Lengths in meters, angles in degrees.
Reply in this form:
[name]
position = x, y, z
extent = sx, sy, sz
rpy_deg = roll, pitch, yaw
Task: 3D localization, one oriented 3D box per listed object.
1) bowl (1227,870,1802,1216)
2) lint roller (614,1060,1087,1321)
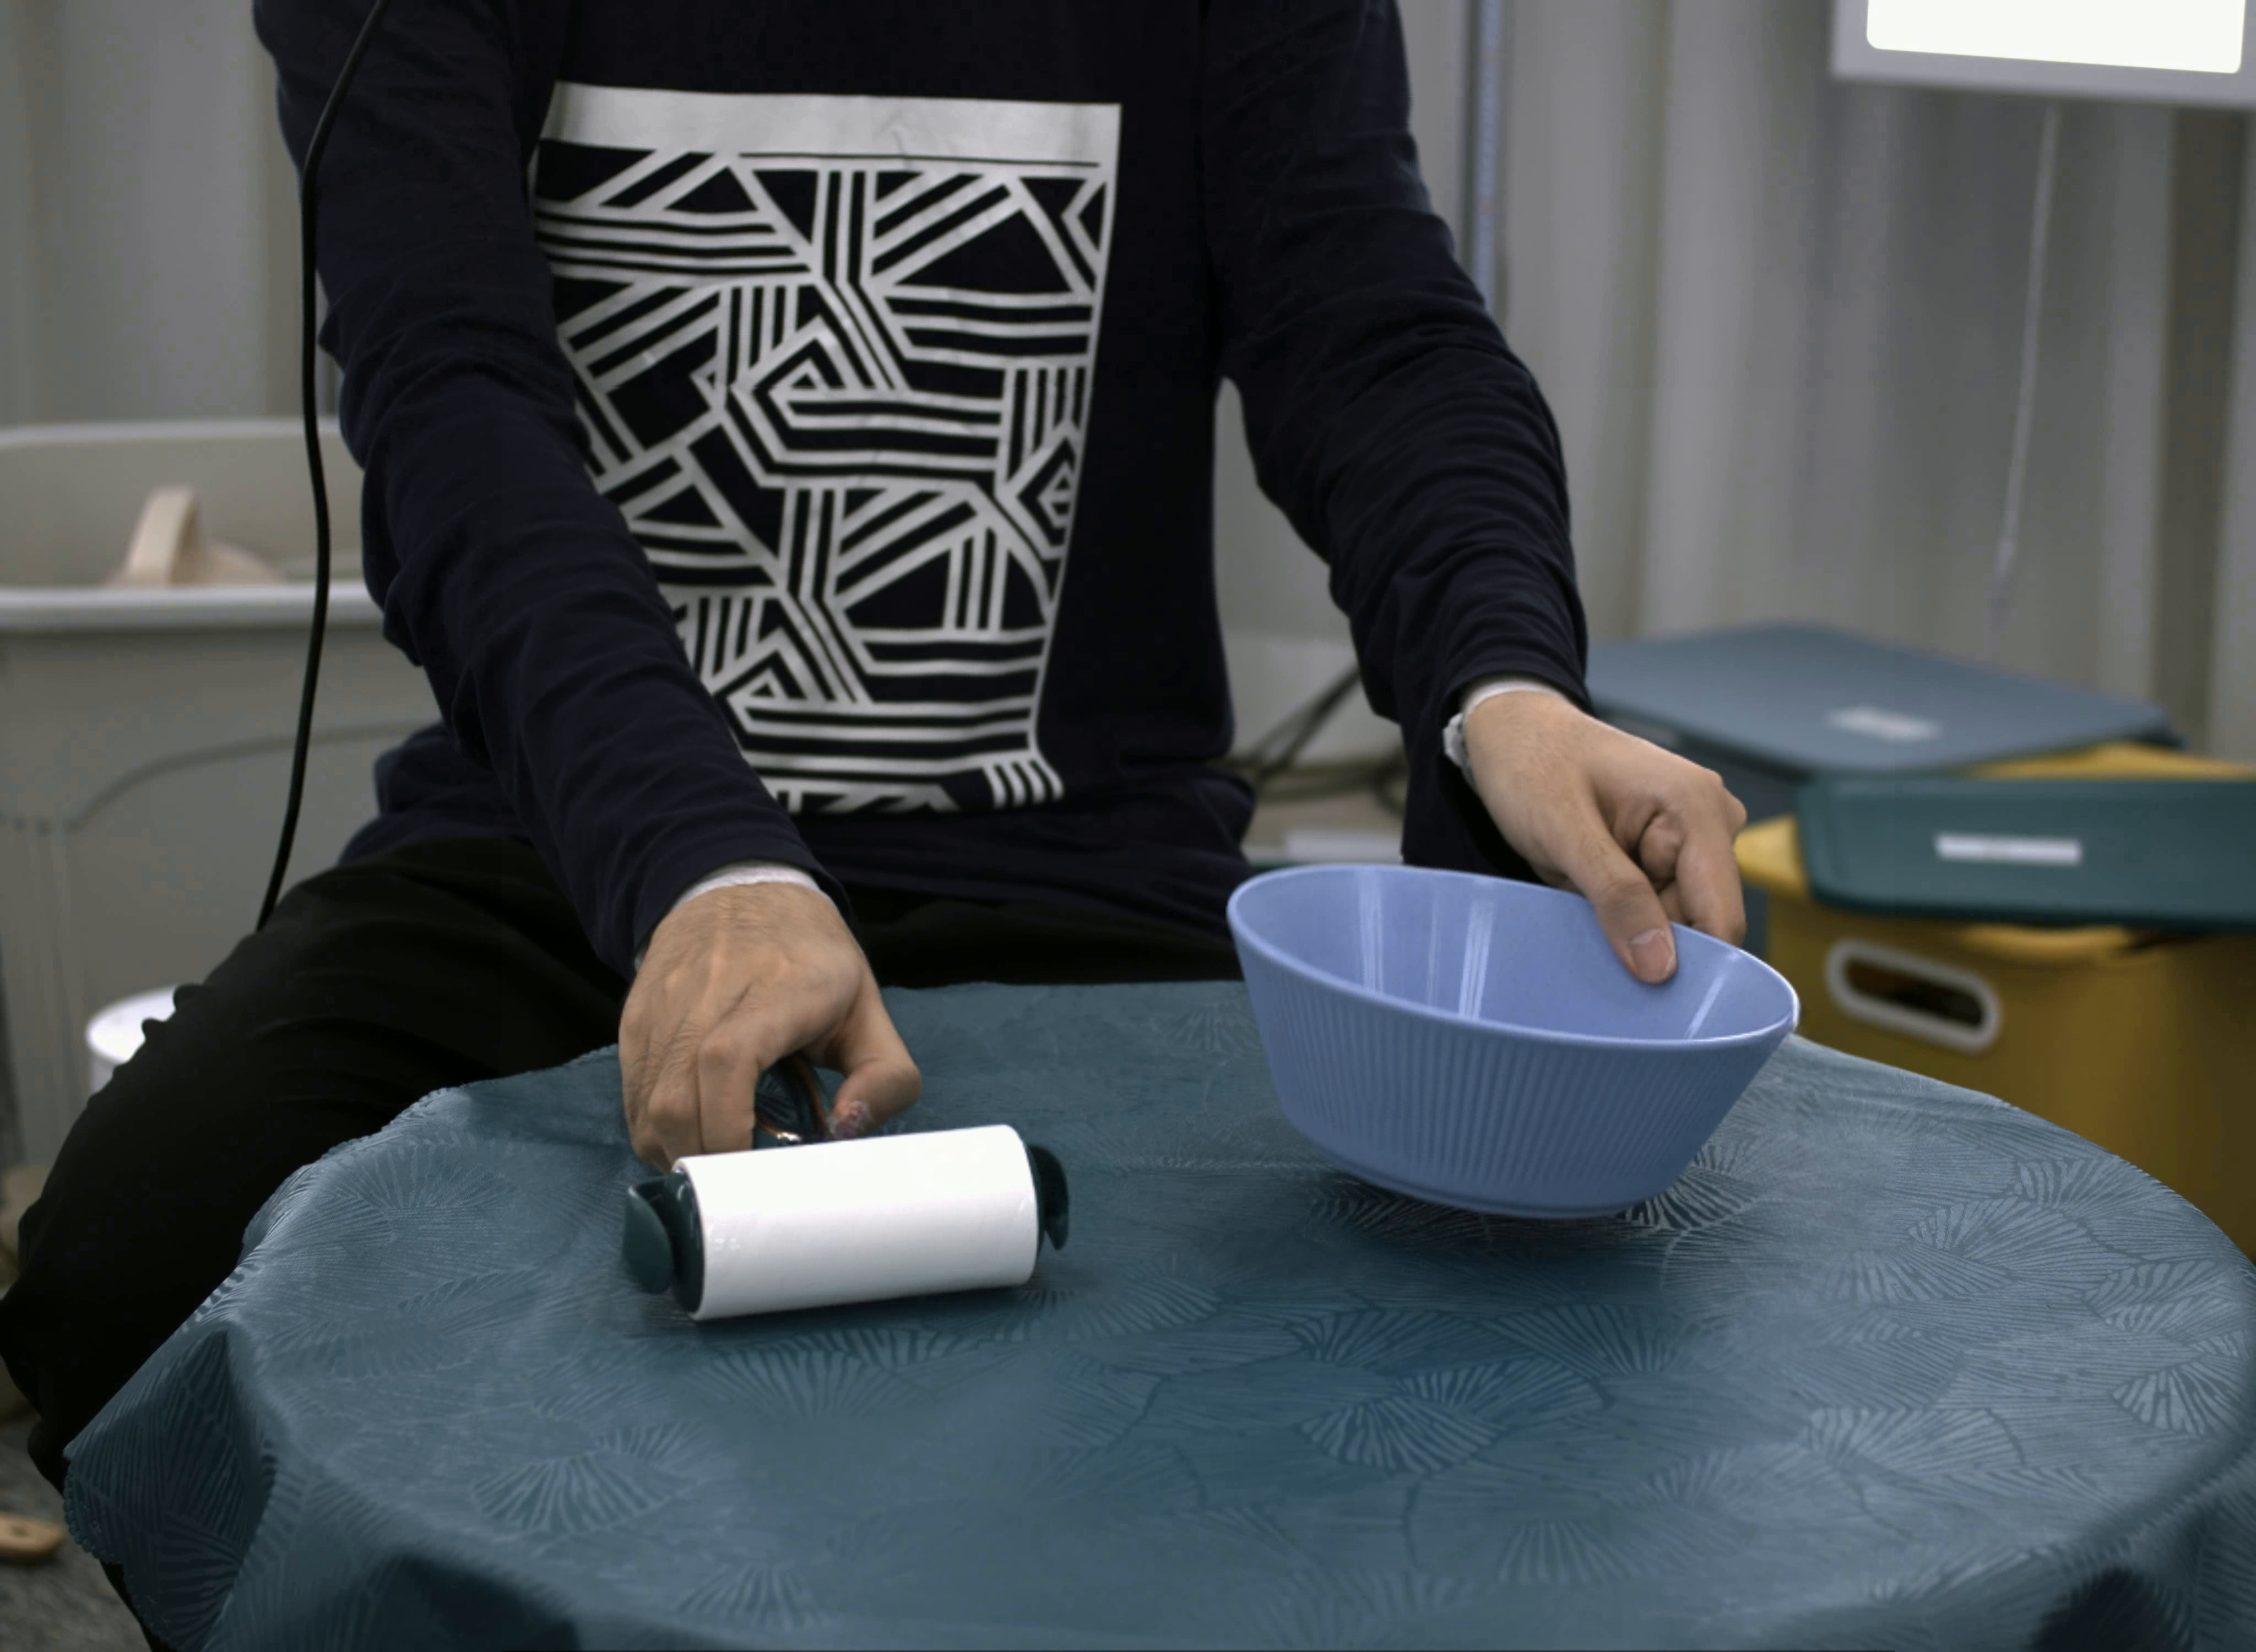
[bowl]
position = 0.112, 0.069, 1.599
extent = 0.175, 0.071, 0.175
rpy_deg = 8, 14, -2
[lint roller]
position = -0.102, 0.090, 1.578
extent = 0.134, 0.049, 0.178
rpy_deg = -5, 24, -18
